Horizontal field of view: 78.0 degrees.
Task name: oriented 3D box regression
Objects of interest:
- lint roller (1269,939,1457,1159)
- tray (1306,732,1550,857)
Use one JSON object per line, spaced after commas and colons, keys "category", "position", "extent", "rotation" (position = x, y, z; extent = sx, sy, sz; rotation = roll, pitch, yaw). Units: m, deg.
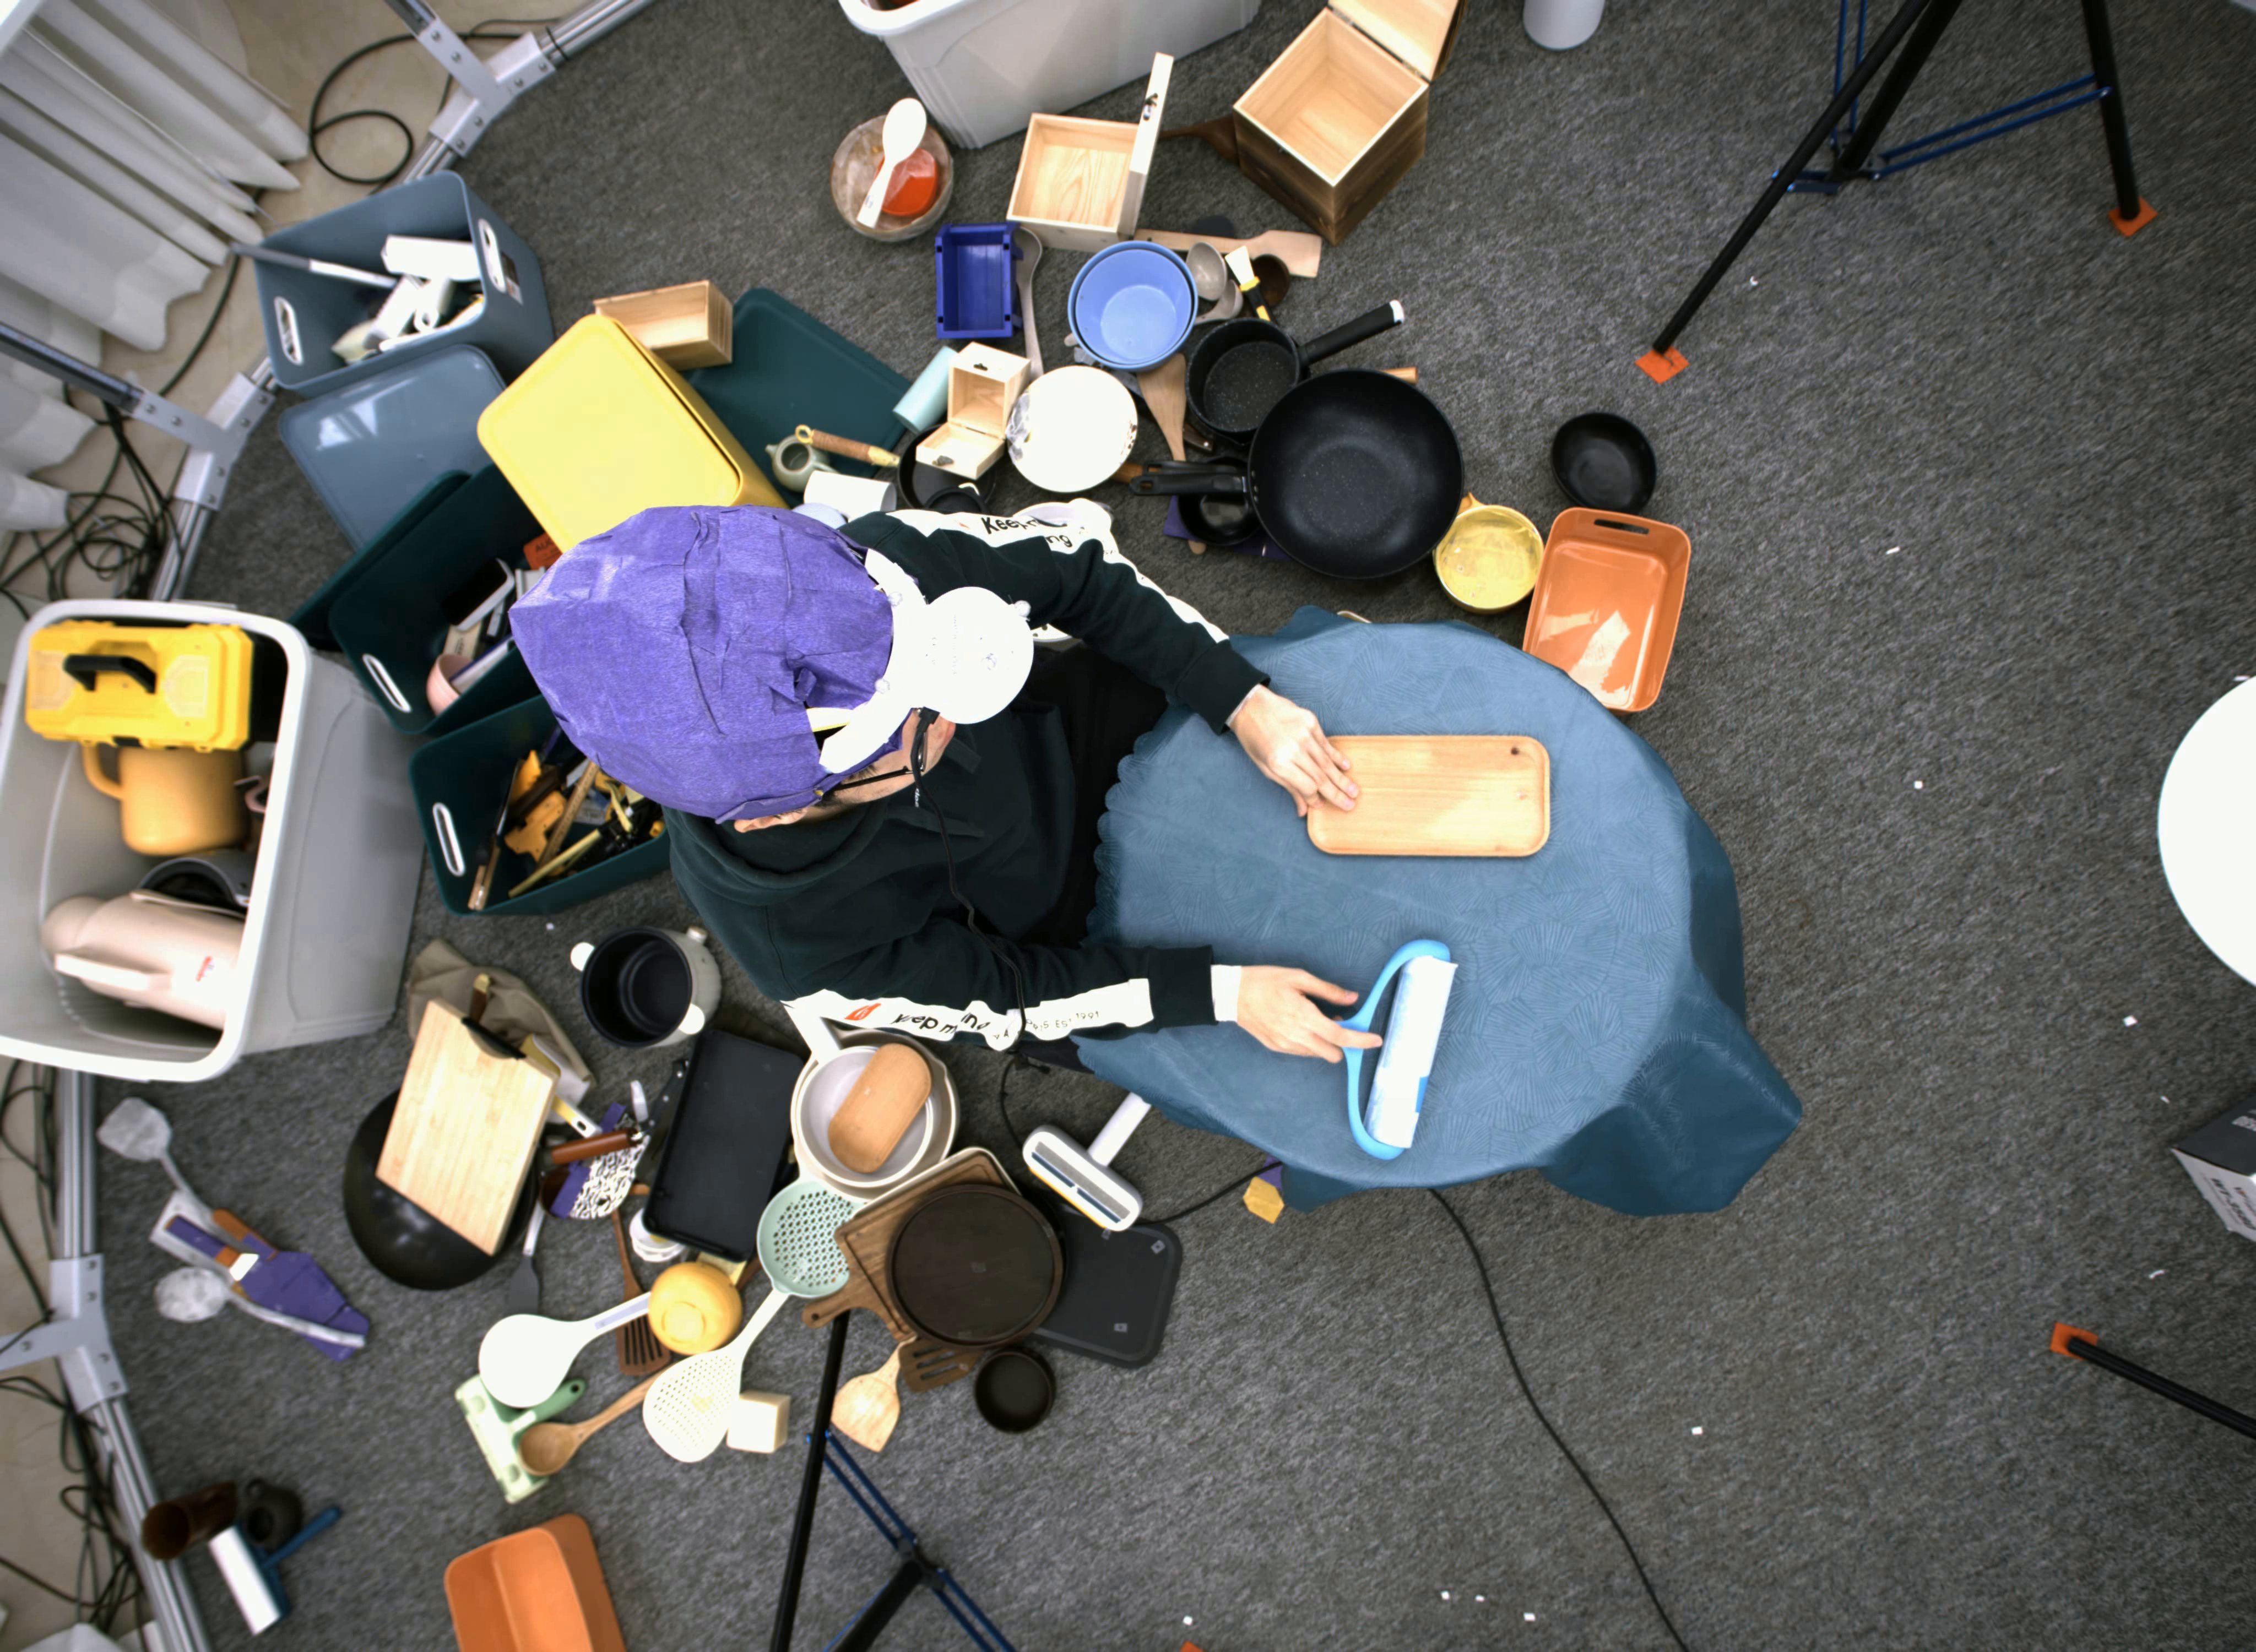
{"category": "lint roller", "position": [0.231, 0.215, 1.426], "extent": [0.180, 0.068, 0.229], "rotation": [11, 91, 9]}
{"category": "tray", "position": [0.313, -0.035, 1.444], "extent": [0.251, 0.023, 0.130], "rotation": [1, 85, 11]}
